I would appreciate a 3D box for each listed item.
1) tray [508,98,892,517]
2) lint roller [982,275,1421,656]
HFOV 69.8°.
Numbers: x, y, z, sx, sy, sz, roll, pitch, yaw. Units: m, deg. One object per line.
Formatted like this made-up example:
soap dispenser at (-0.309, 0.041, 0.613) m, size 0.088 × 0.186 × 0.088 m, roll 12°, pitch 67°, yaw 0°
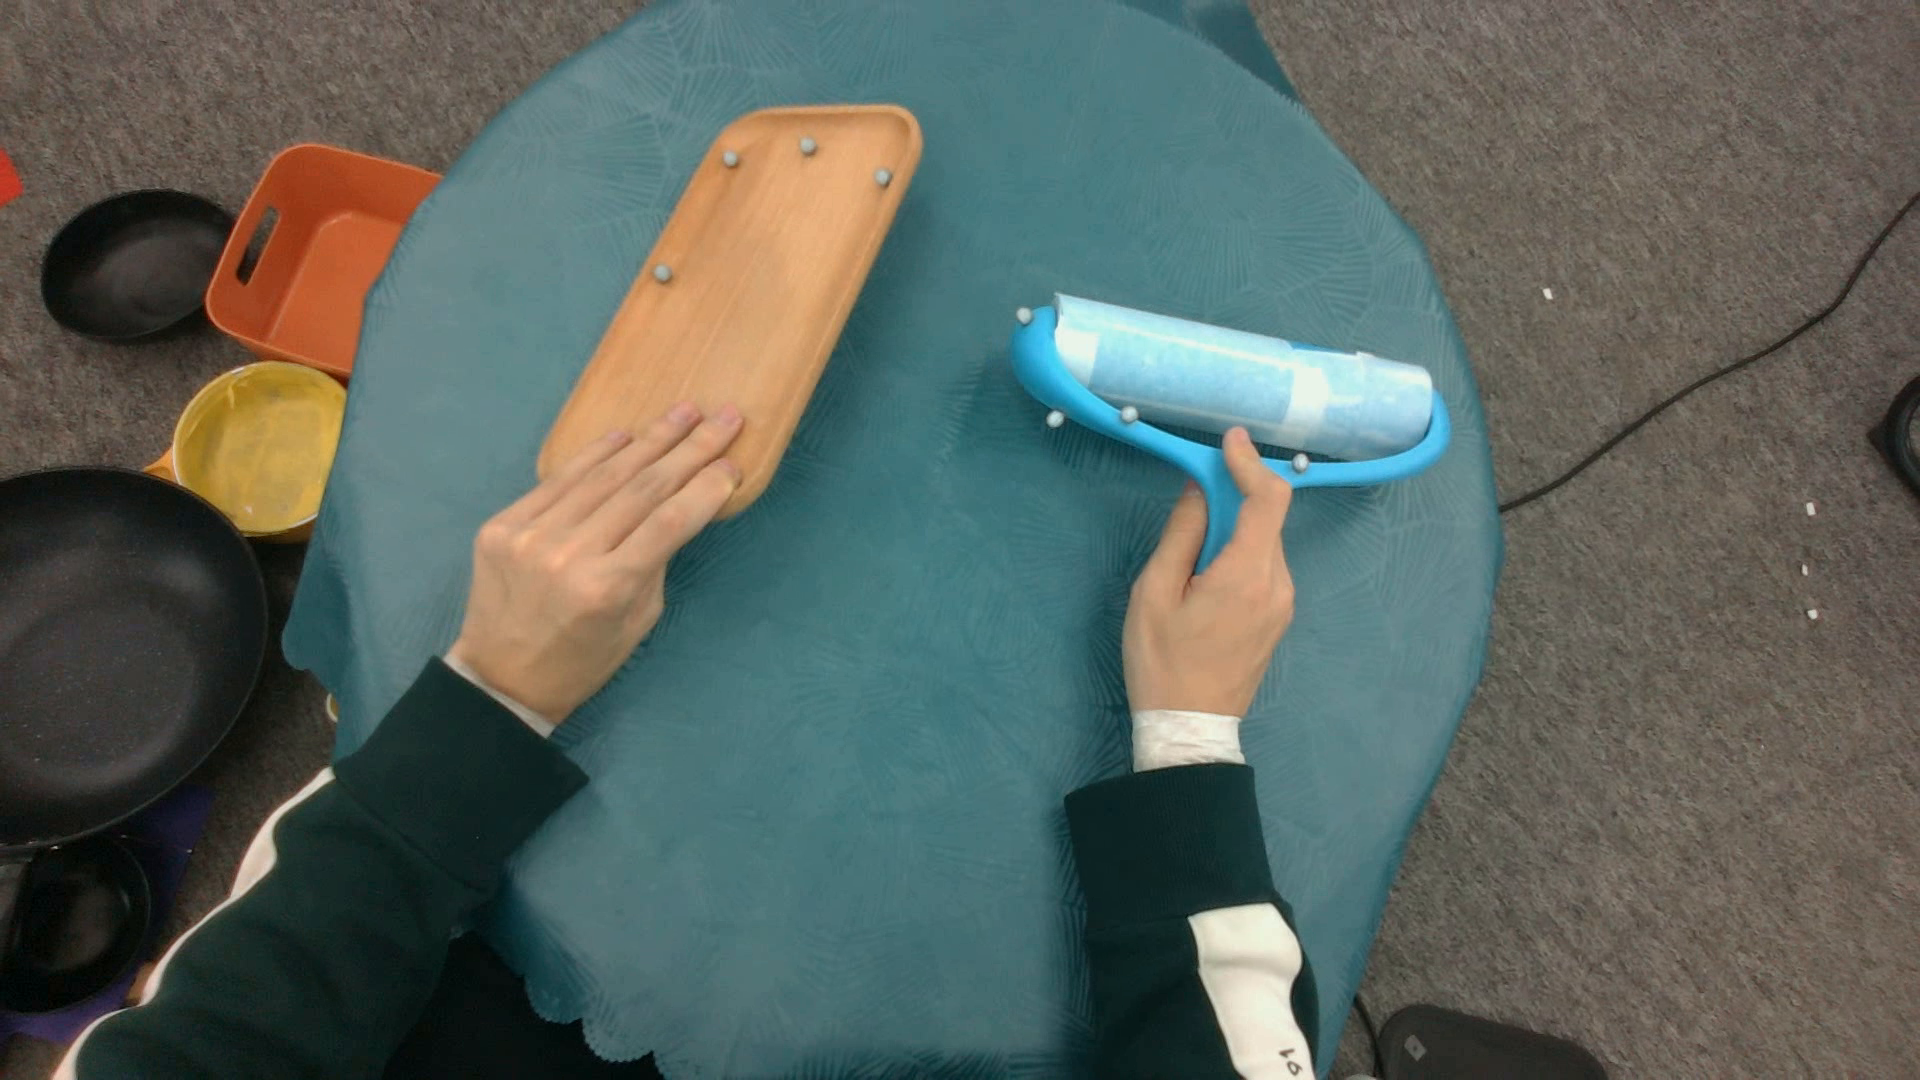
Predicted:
tray at (-0.121, -0.120, 0.668) m, size 0.130 × 0.023 × 0.251 m, roll 5°, pitch 61°, yaw 28°
lint roller at (0.120, -0.035, 0.687) m, size 0.229 × 0.068 × 0.180 m, roll 6°, pitch 78°, yaw -10°
